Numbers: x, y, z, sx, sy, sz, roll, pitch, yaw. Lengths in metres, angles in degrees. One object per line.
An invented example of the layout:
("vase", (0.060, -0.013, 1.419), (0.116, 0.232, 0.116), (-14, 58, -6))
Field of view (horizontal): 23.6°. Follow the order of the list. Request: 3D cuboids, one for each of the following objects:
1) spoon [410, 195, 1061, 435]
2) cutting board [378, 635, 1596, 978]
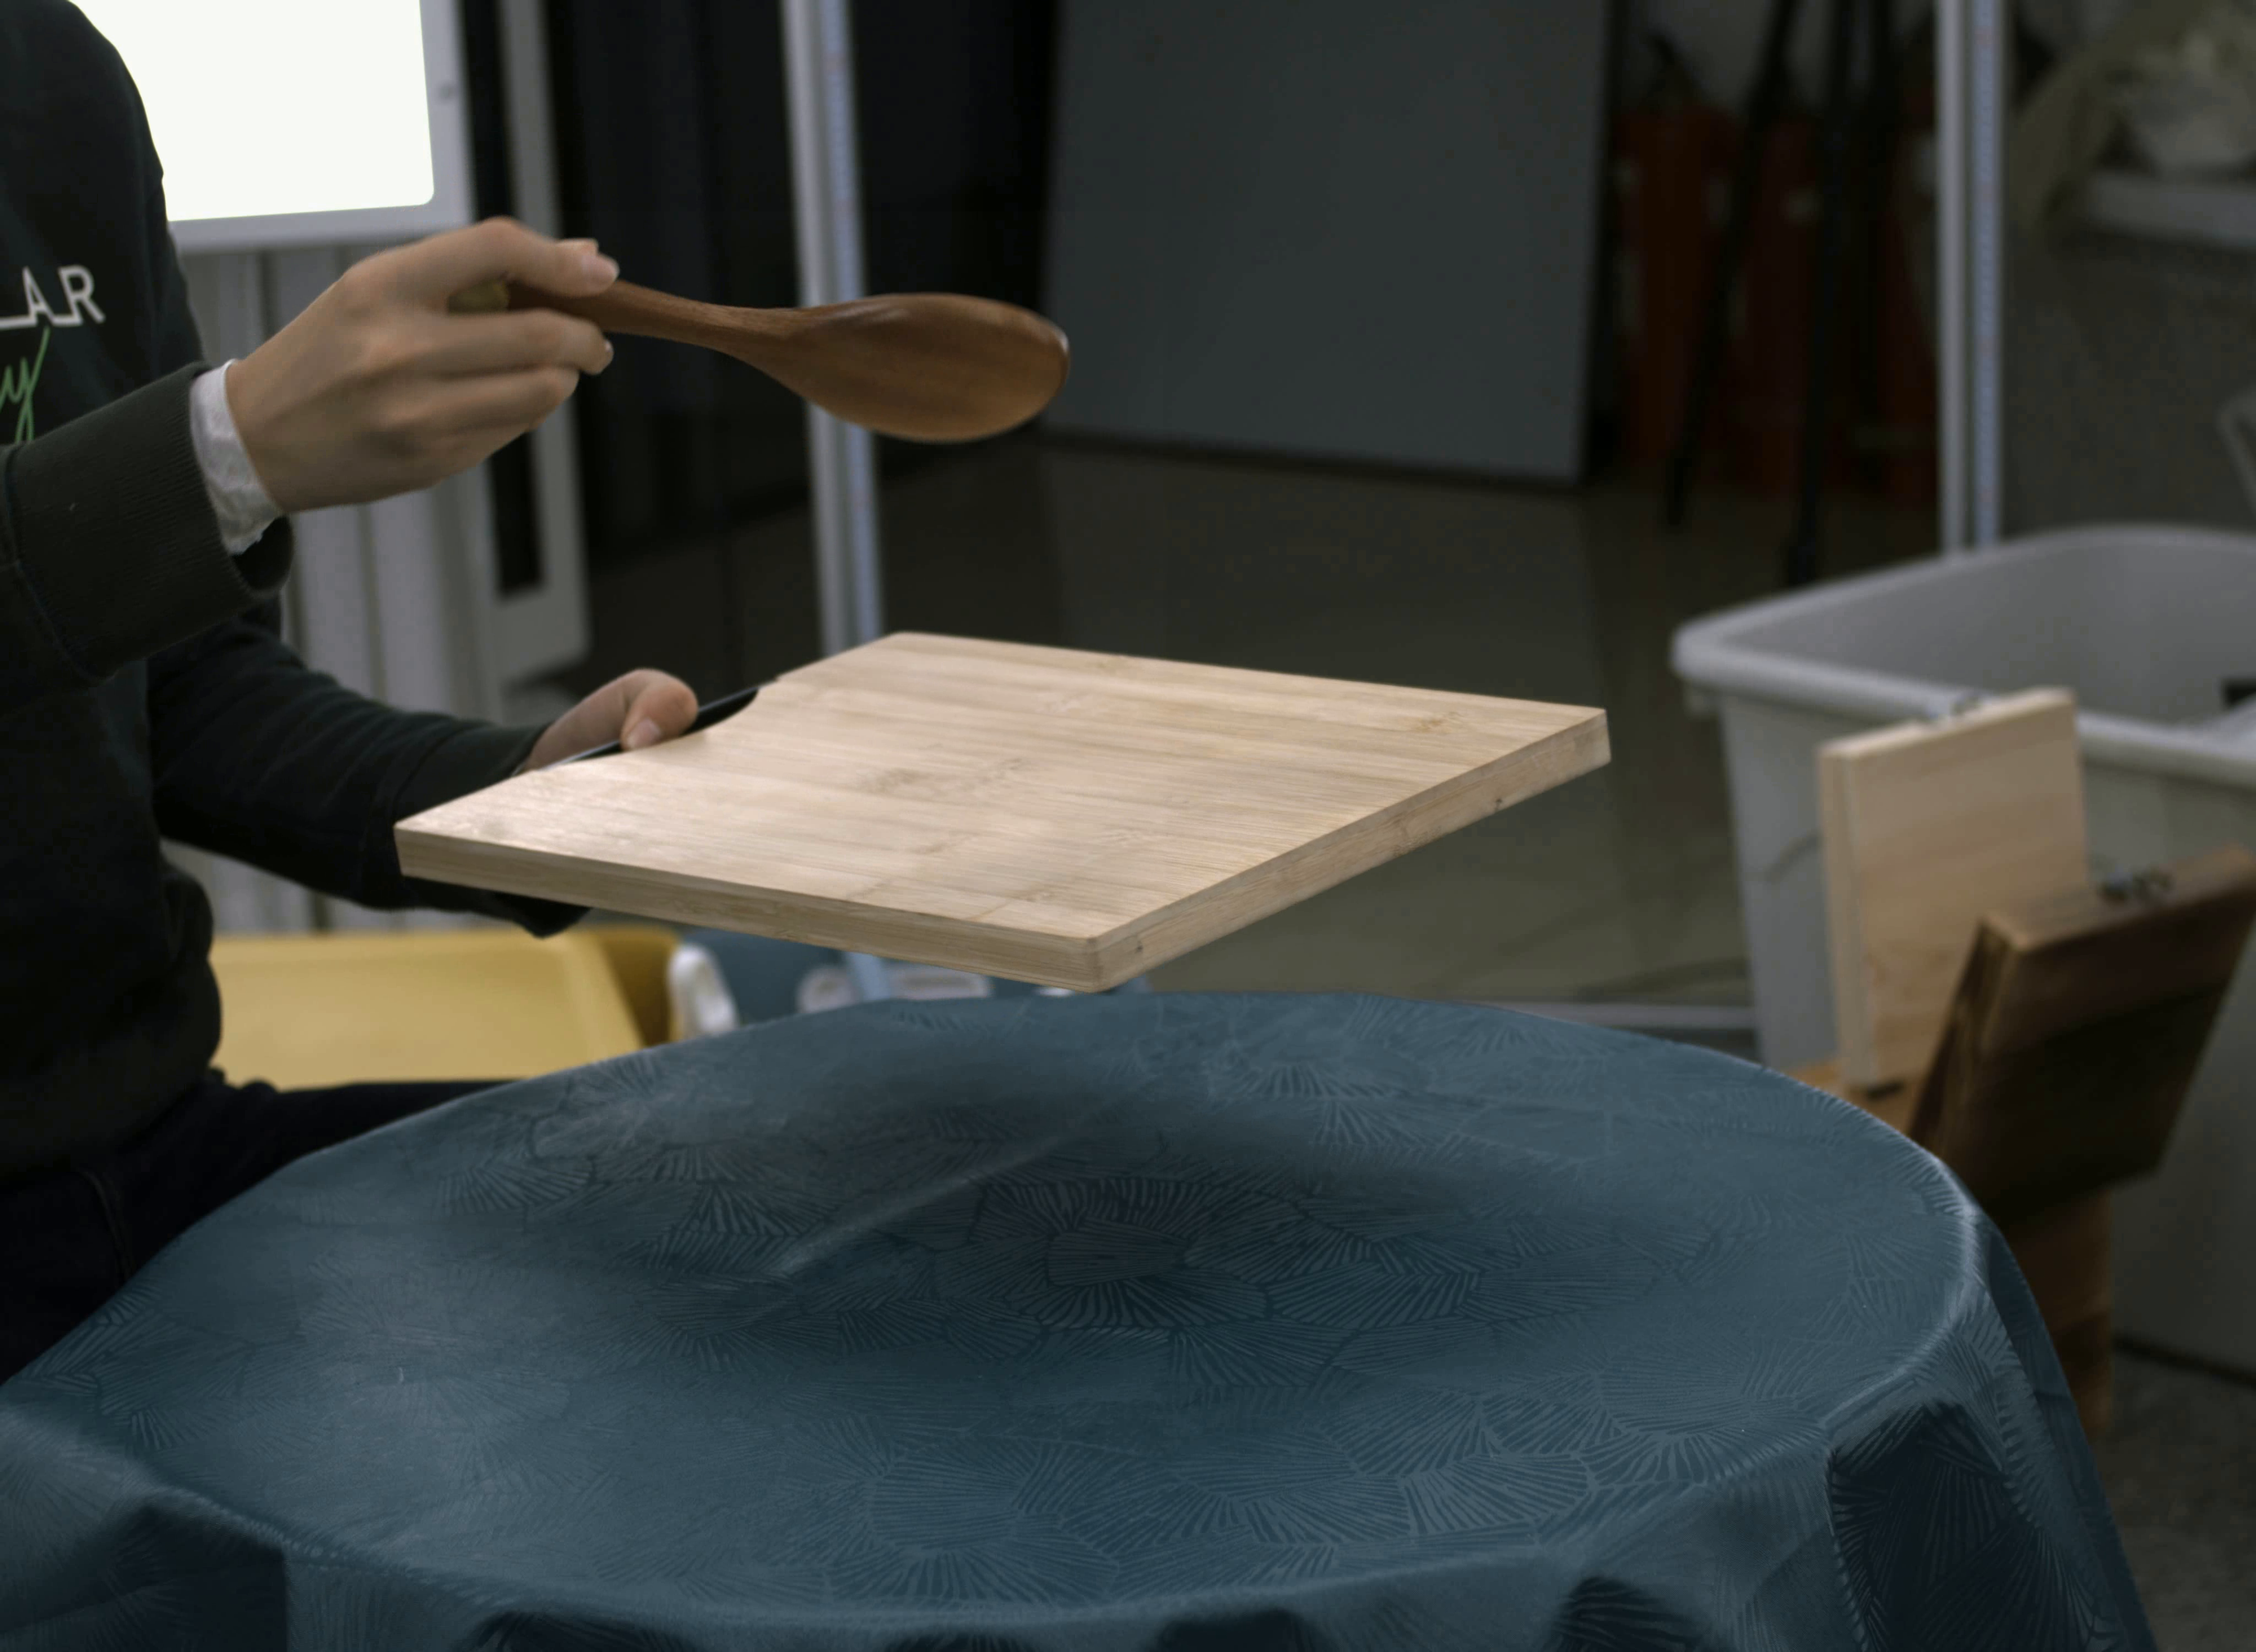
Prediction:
("spoon", (-0.117, -0.154, 1.646), (0.211, 0.017, 0.076), (14, -29, -26))
("cutting board", (-0.051, -0.011, 1.771), (0.246, 0.024, 0.352), (-22, 20, -41))
